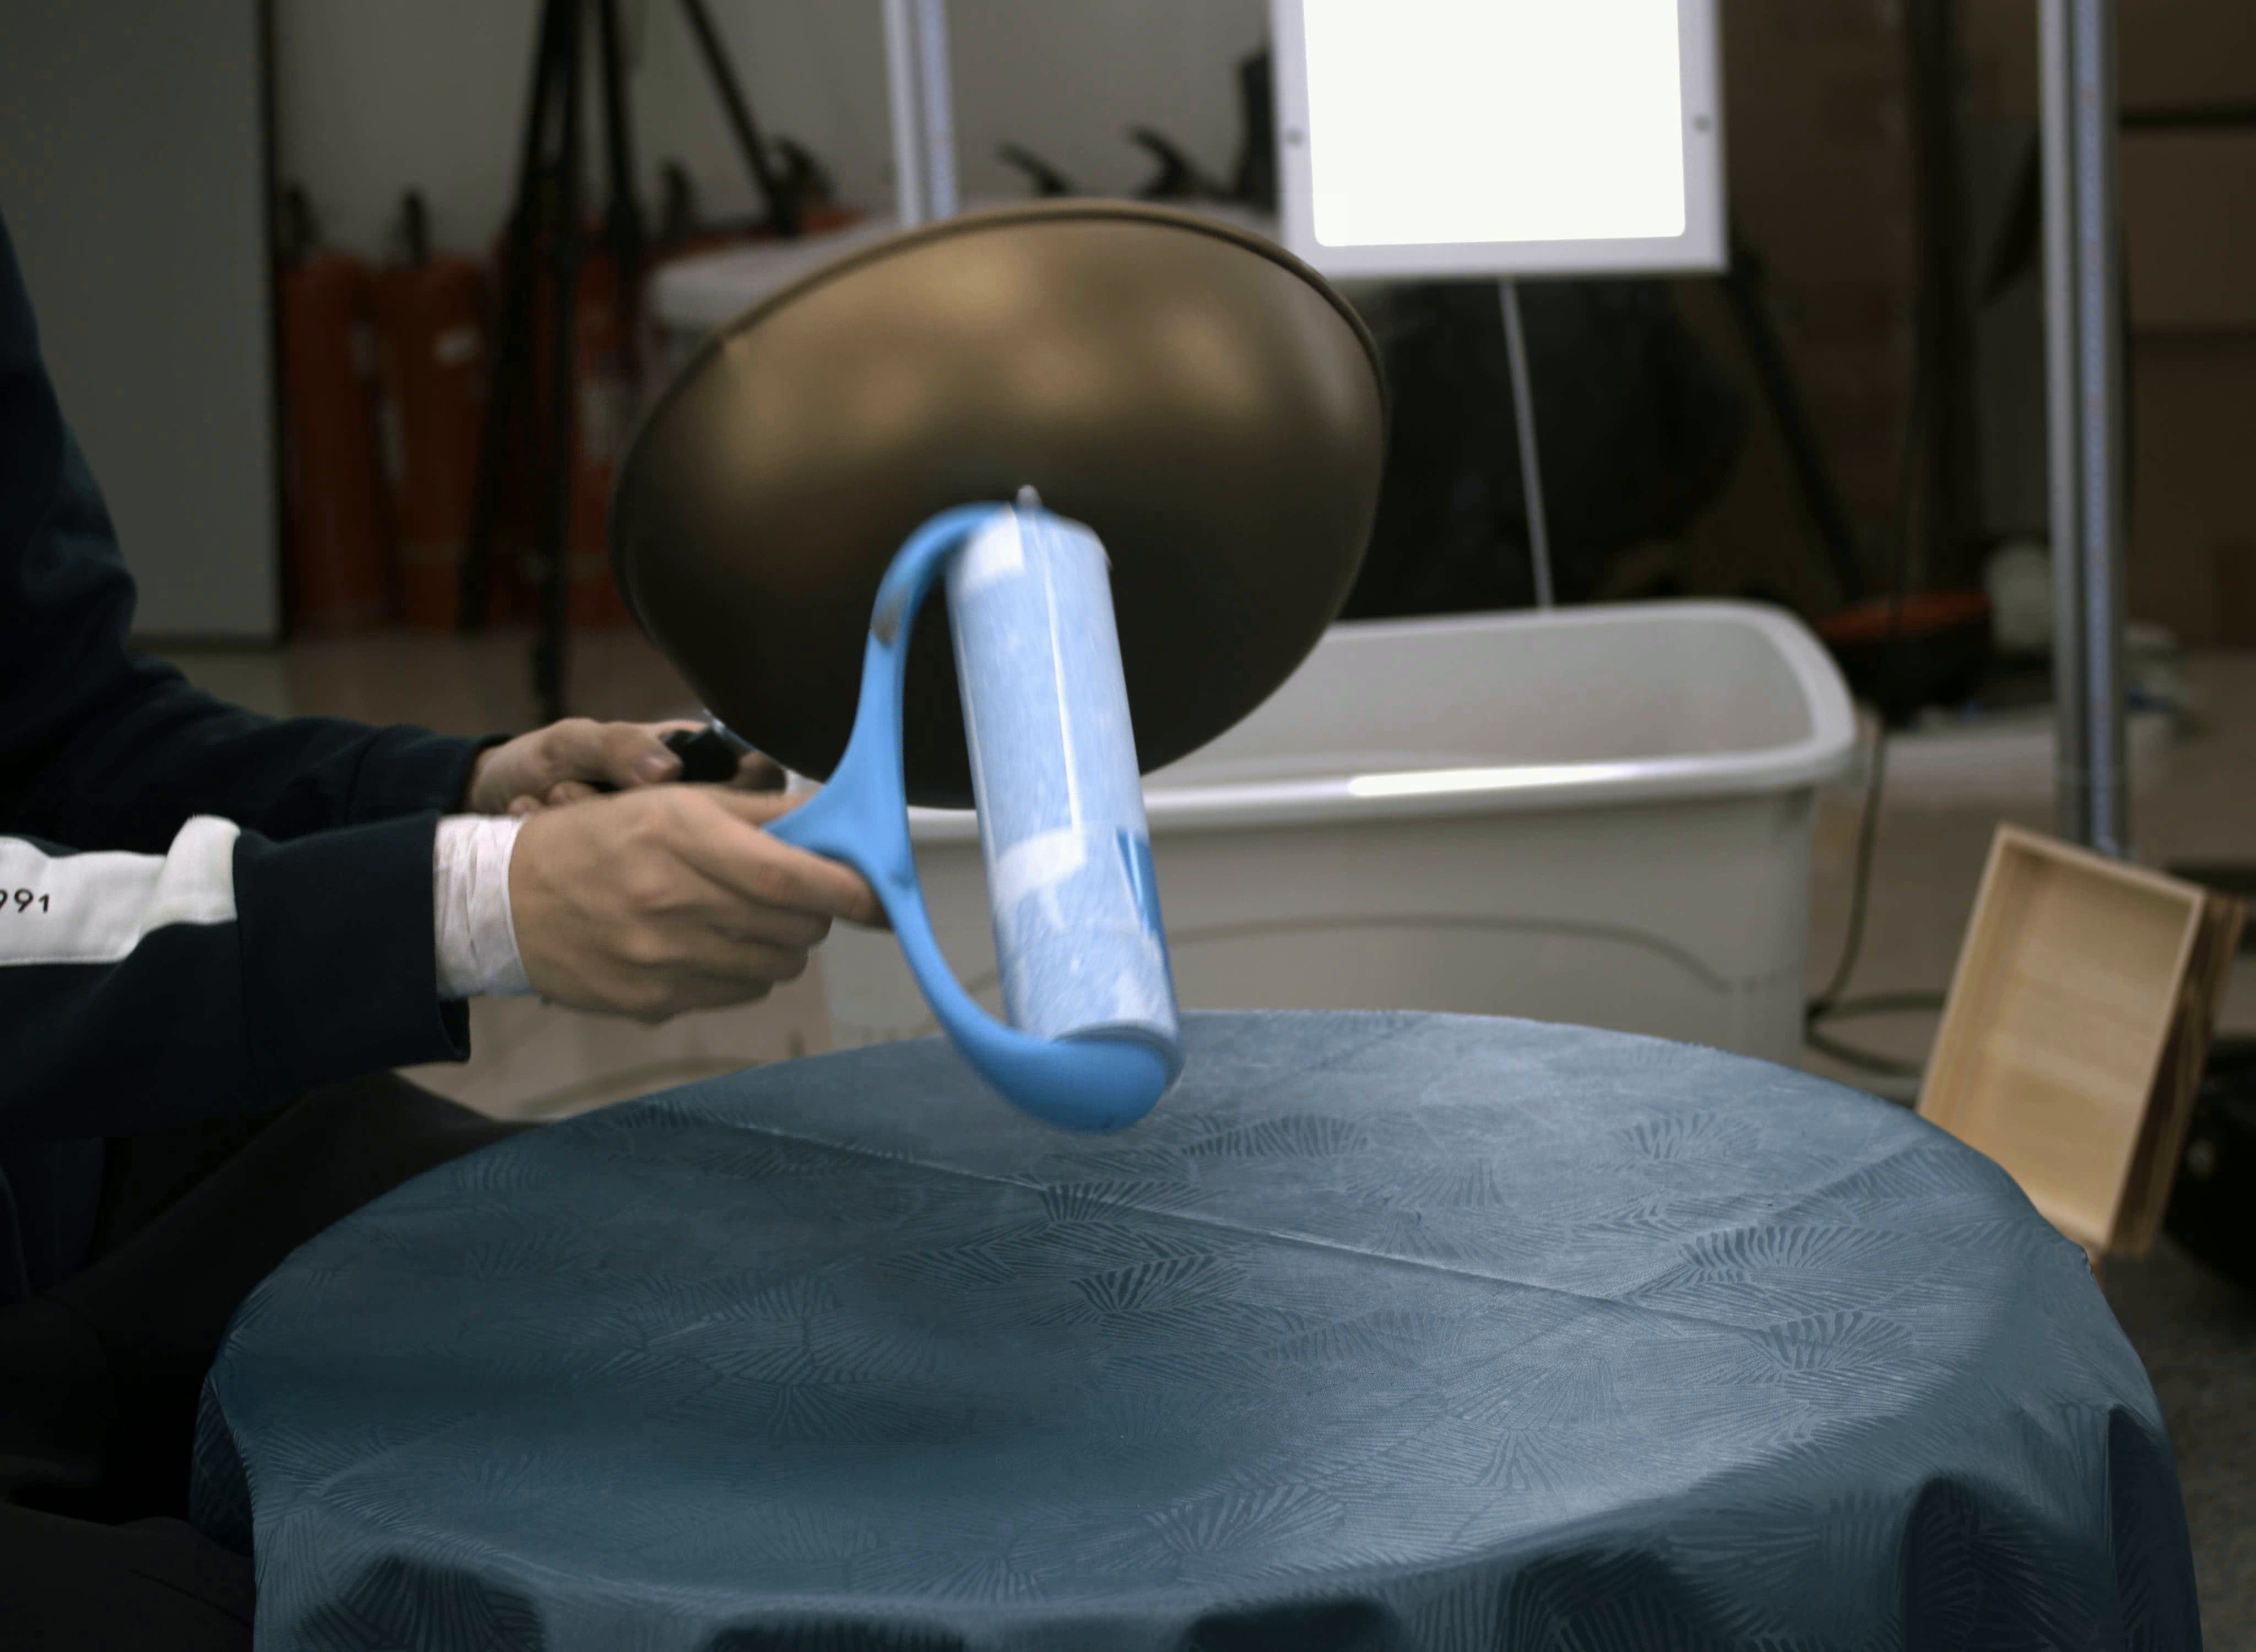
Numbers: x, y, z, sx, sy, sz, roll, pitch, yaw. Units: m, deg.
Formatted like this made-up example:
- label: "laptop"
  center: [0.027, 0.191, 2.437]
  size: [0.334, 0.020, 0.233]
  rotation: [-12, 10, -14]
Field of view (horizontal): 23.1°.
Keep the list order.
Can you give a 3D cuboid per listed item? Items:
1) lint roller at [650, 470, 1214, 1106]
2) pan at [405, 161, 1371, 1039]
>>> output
- label: "lint roller"
  center: [-0.075, 0.004, 1.750]
  size: [0.181, 0.230, 0.067]
  rotation: [-20, -28, 8]
- label: "pan"
  center: [-0.104, -0.042, 1.936]
  size: [0.282, 0.471, 0.087]
  rotation: [25, 35, -39]
